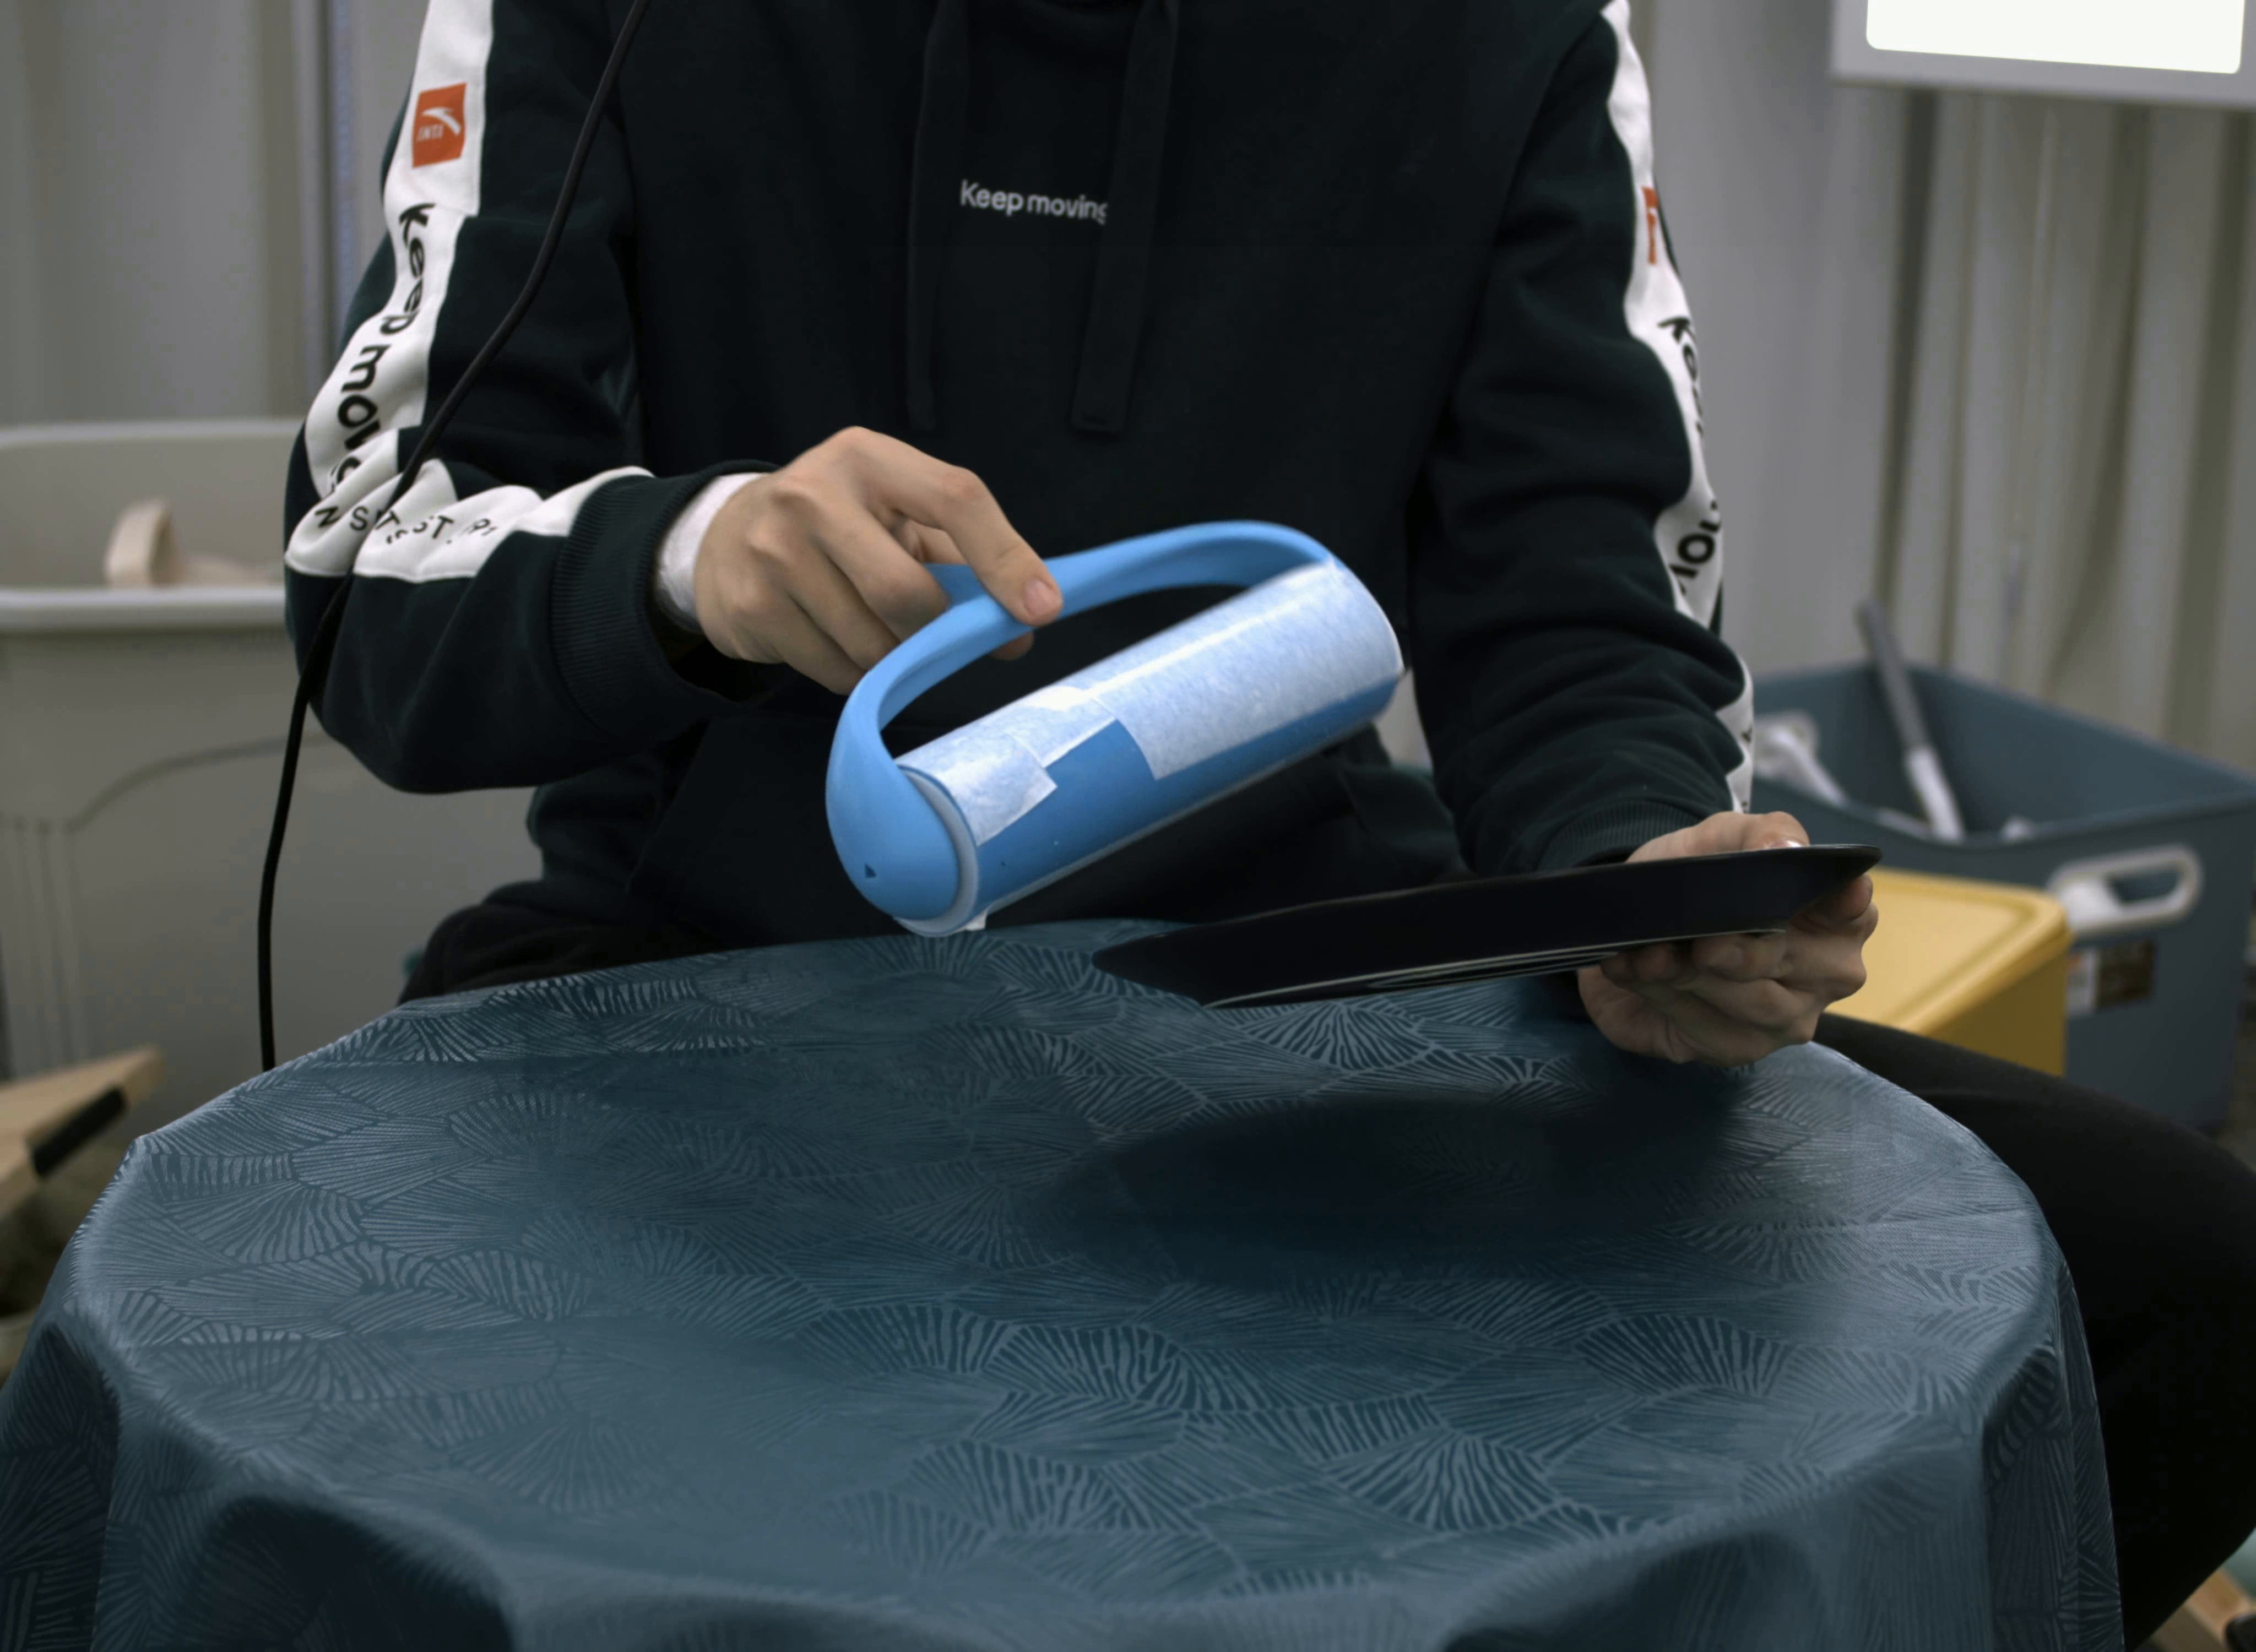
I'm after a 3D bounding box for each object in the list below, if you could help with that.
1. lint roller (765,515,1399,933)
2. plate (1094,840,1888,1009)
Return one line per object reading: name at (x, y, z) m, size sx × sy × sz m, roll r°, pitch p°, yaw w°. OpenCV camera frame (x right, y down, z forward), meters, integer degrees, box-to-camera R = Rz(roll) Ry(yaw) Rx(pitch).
lint roller at (-0.044, -0.047, 1.615) m, size 0.178 × 0.068 × 0.229 m, roll 22°, pitch 36°, yaw 31°
plate at (0.111, 0.033, 1.602) m, size 0.243 × 0.023 × 0.245 m, roll -7°, pitch -4°, yaw 0°
